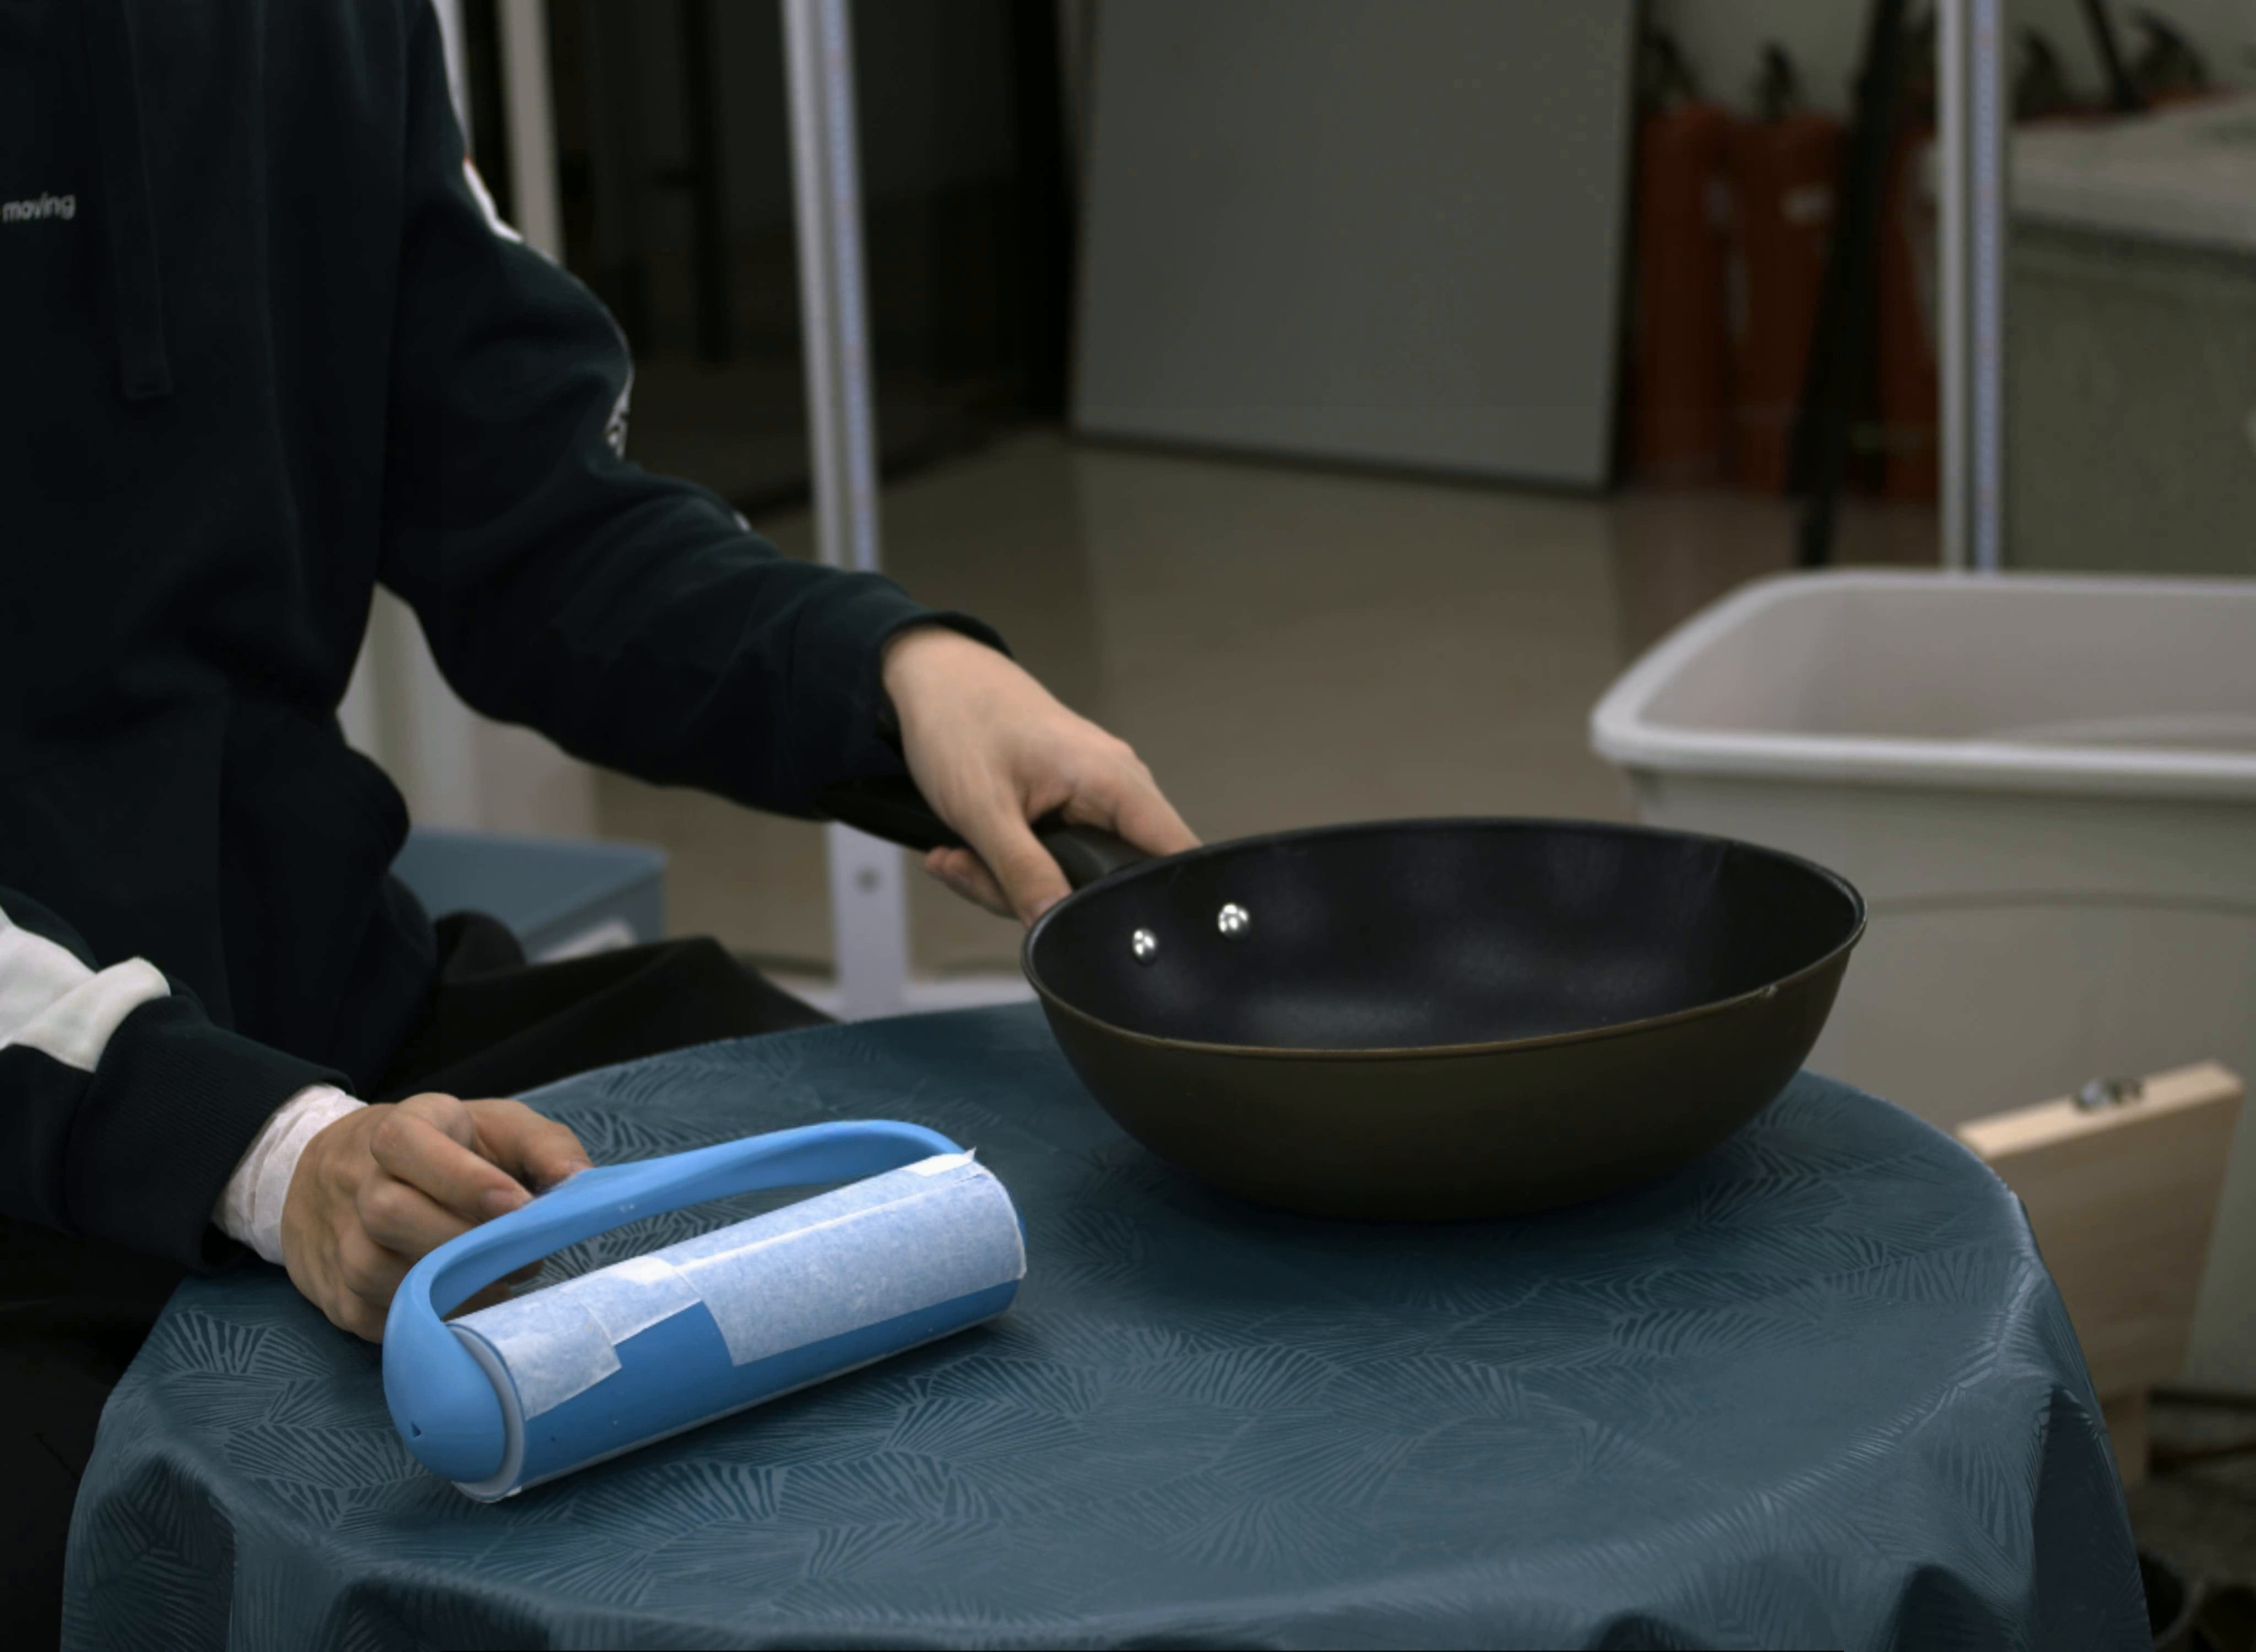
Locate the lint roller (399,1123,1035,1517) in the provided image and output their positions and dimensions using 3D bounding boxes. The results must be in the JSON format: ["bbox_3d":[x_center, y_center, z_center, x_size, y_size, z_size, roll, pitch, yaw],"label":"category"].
[{"bbox_3d":[-0.158,0.138,1.631,0.182,0.068,0.224,11,22,43],"label":"lint roller"}]

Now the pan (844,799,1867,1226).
[{"bbox_3d":[0.046,0.058,1.843,0.282,0.088,0.468,-14,16,-38],"label":"pan"}]
